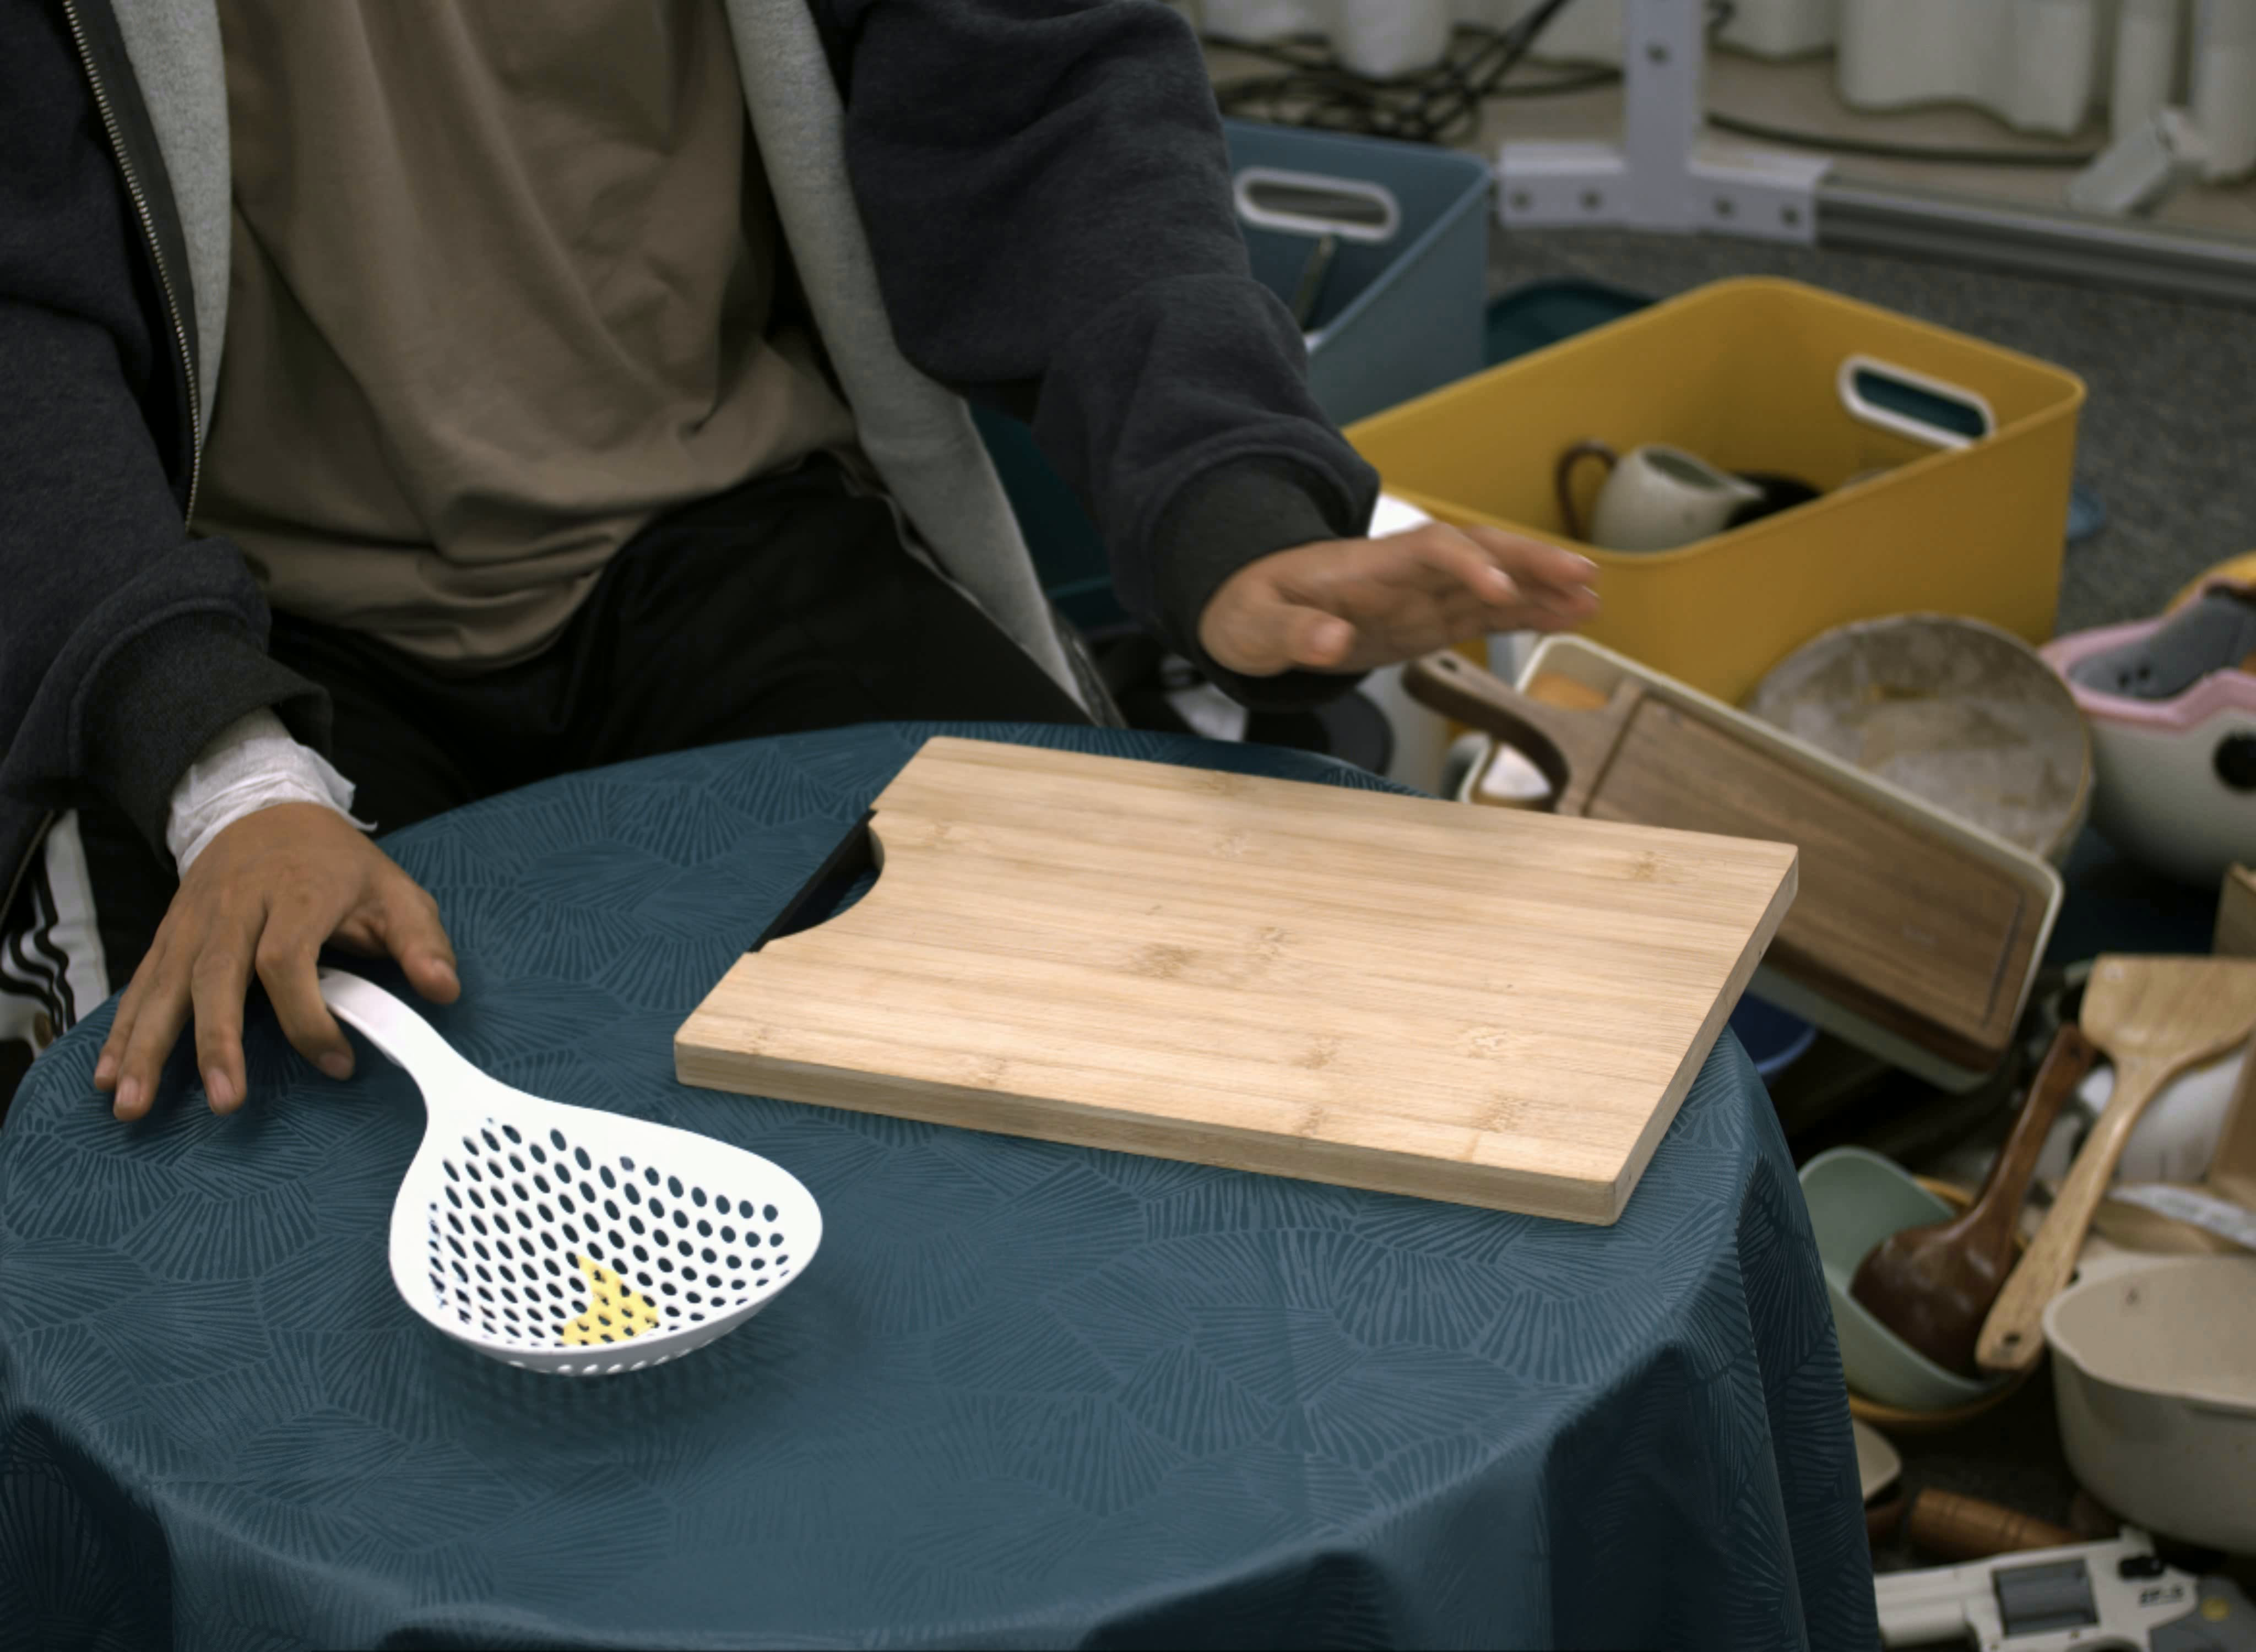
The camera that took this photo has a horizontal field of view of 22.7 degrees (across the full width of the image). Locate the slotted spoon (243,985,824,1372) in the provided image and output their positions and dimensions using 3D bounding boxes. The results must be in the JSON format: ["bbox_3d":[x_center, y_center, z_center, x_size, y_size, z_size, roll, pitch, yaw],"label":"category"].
[{"bbox_3d":[-0.219,0.104,1.873,0.137,0.050,0.349,-18,31,-25],"label":"slotted spoon"}]

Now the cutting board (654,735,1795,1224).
[{"bbox_3d":[0.038,0.049,1.982,0.346,0.023,0.255,7,29,18],"label":"cutting board"}]
